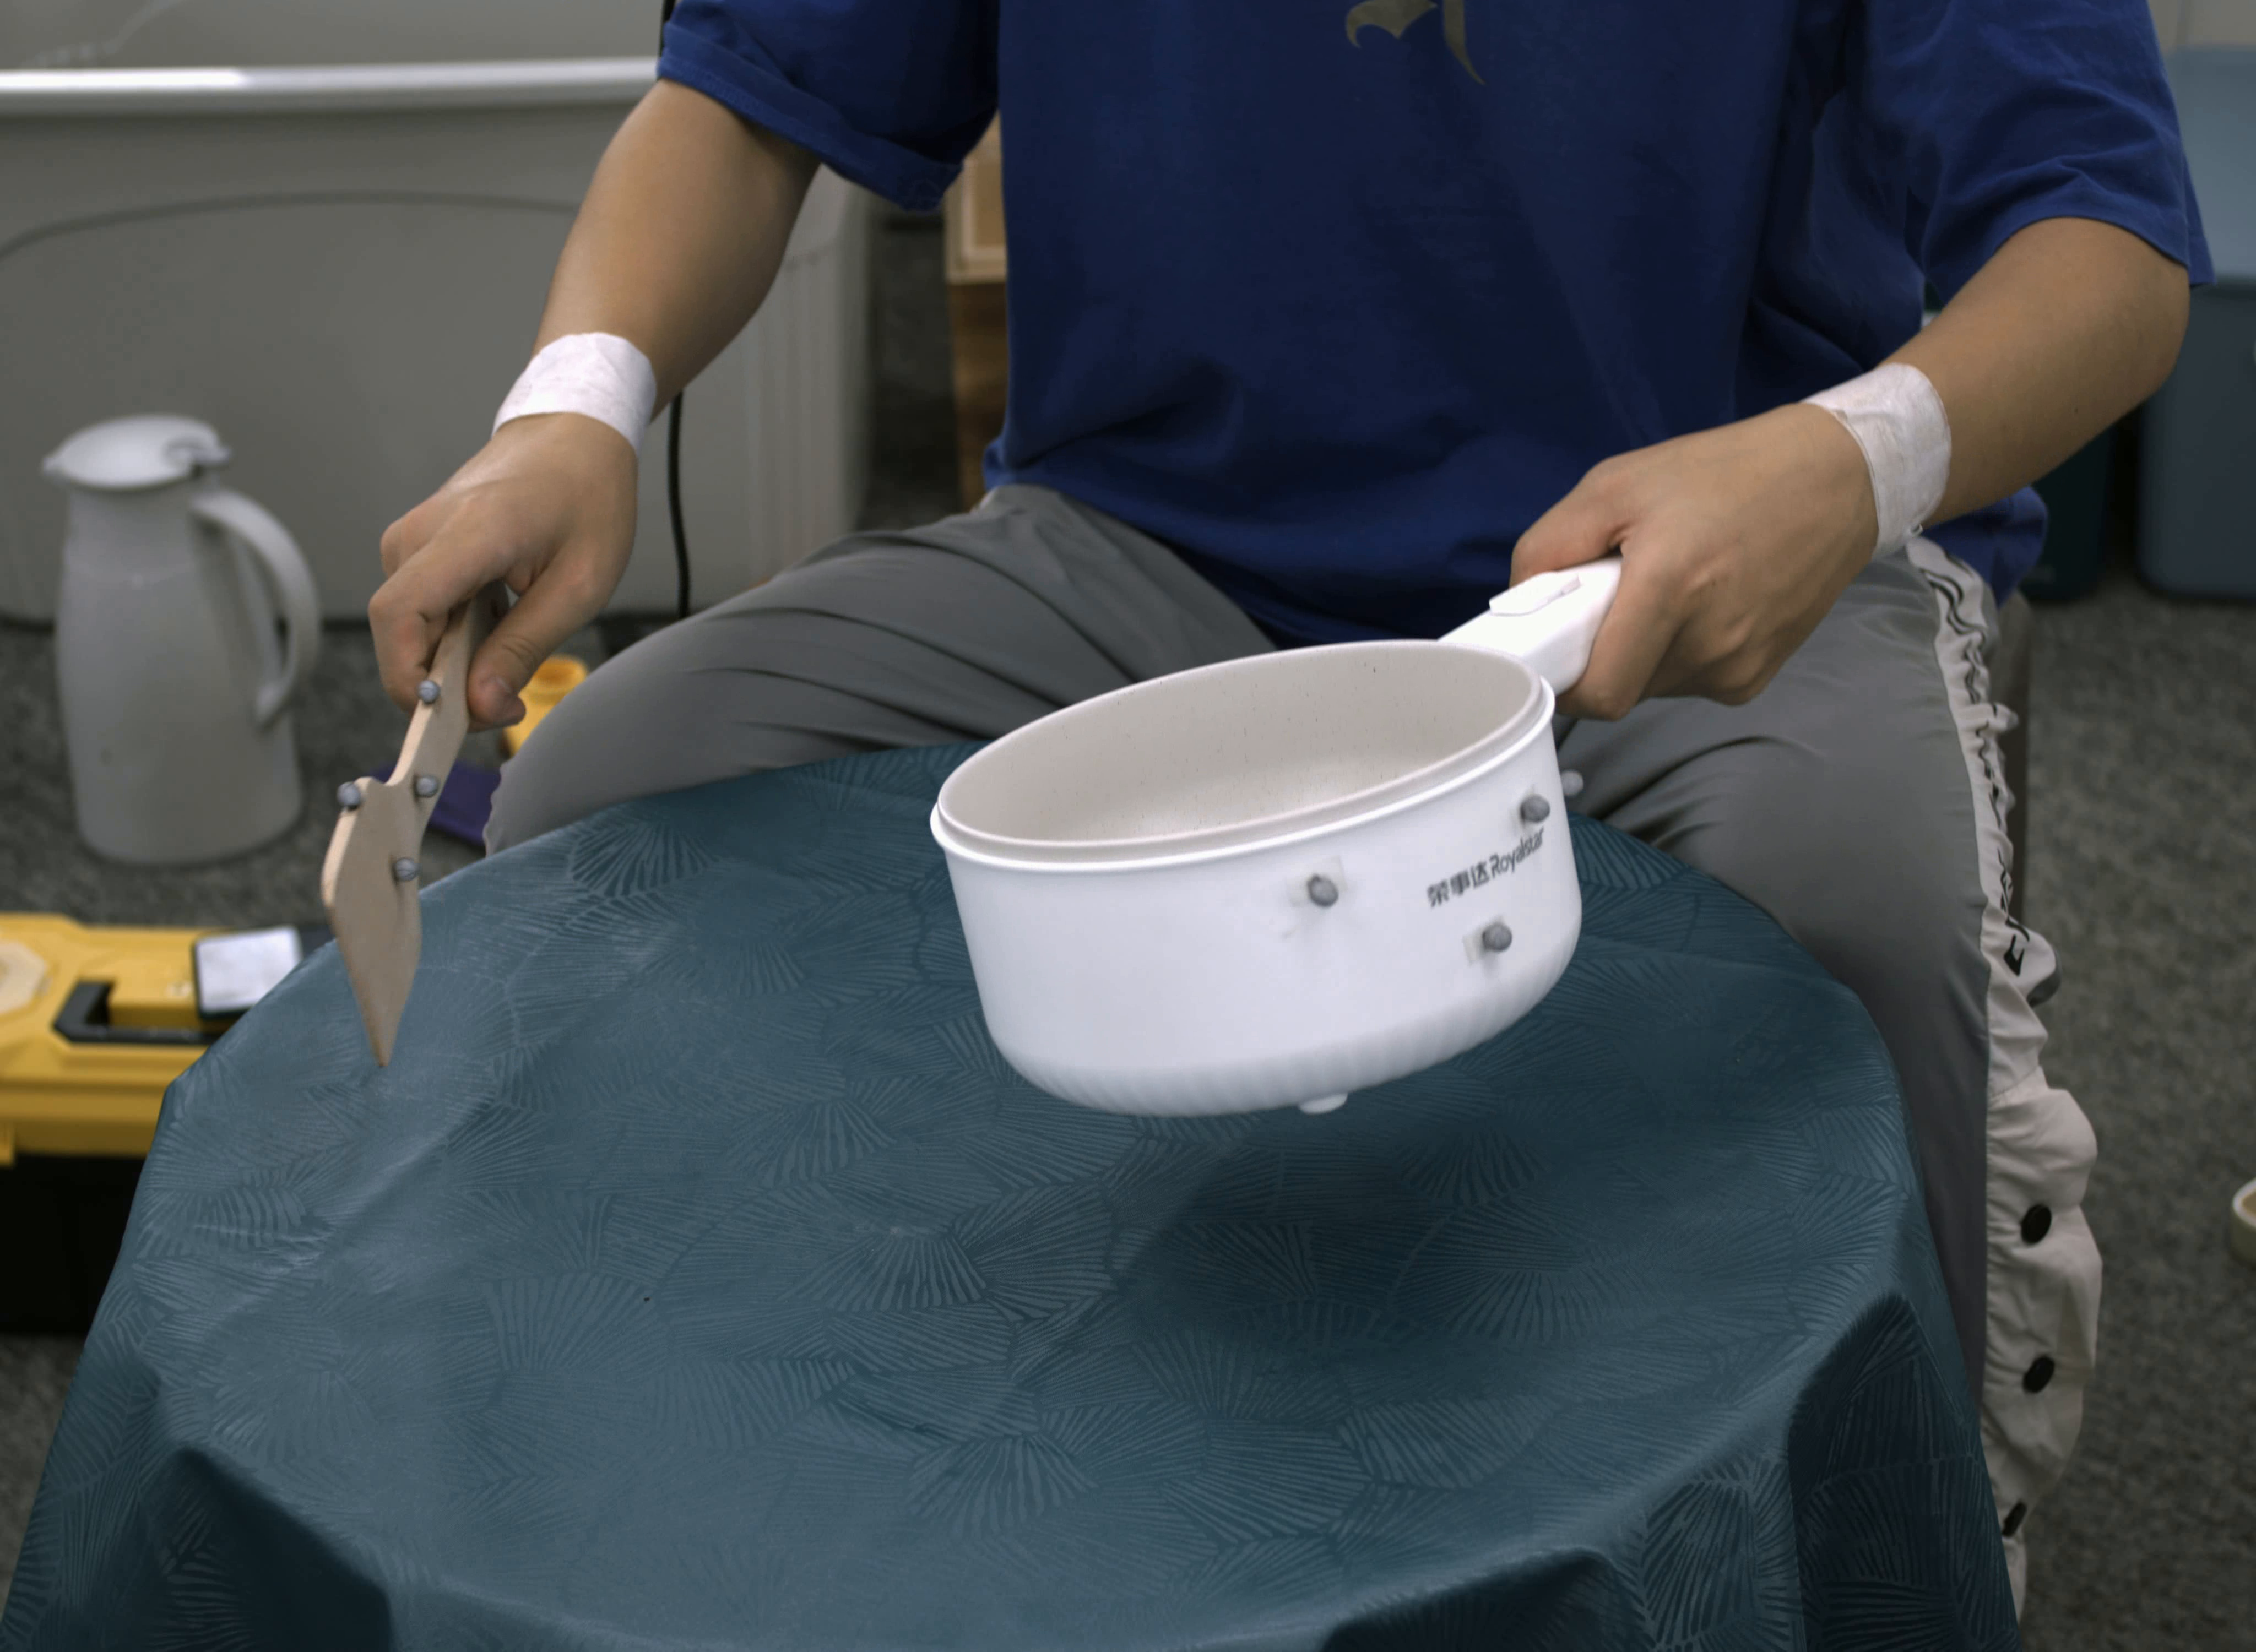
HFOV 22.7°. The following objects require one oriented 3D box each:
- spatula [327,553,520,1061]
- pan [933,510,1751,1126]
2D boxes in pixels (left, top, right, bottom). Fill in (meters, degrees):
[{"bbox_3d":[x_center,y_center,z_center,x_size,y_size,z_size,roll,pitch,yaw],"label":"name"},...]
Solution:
[{"bbox_3d":[-0.245,-0.021,1.980,0.010,0.071,0.298,-10,28,10],"label":"spatula"},{"bbox_3d":[0.094,-0.004,1.842,0.199,0.102,0.359,-1,19,42],"label":"pan"}]
